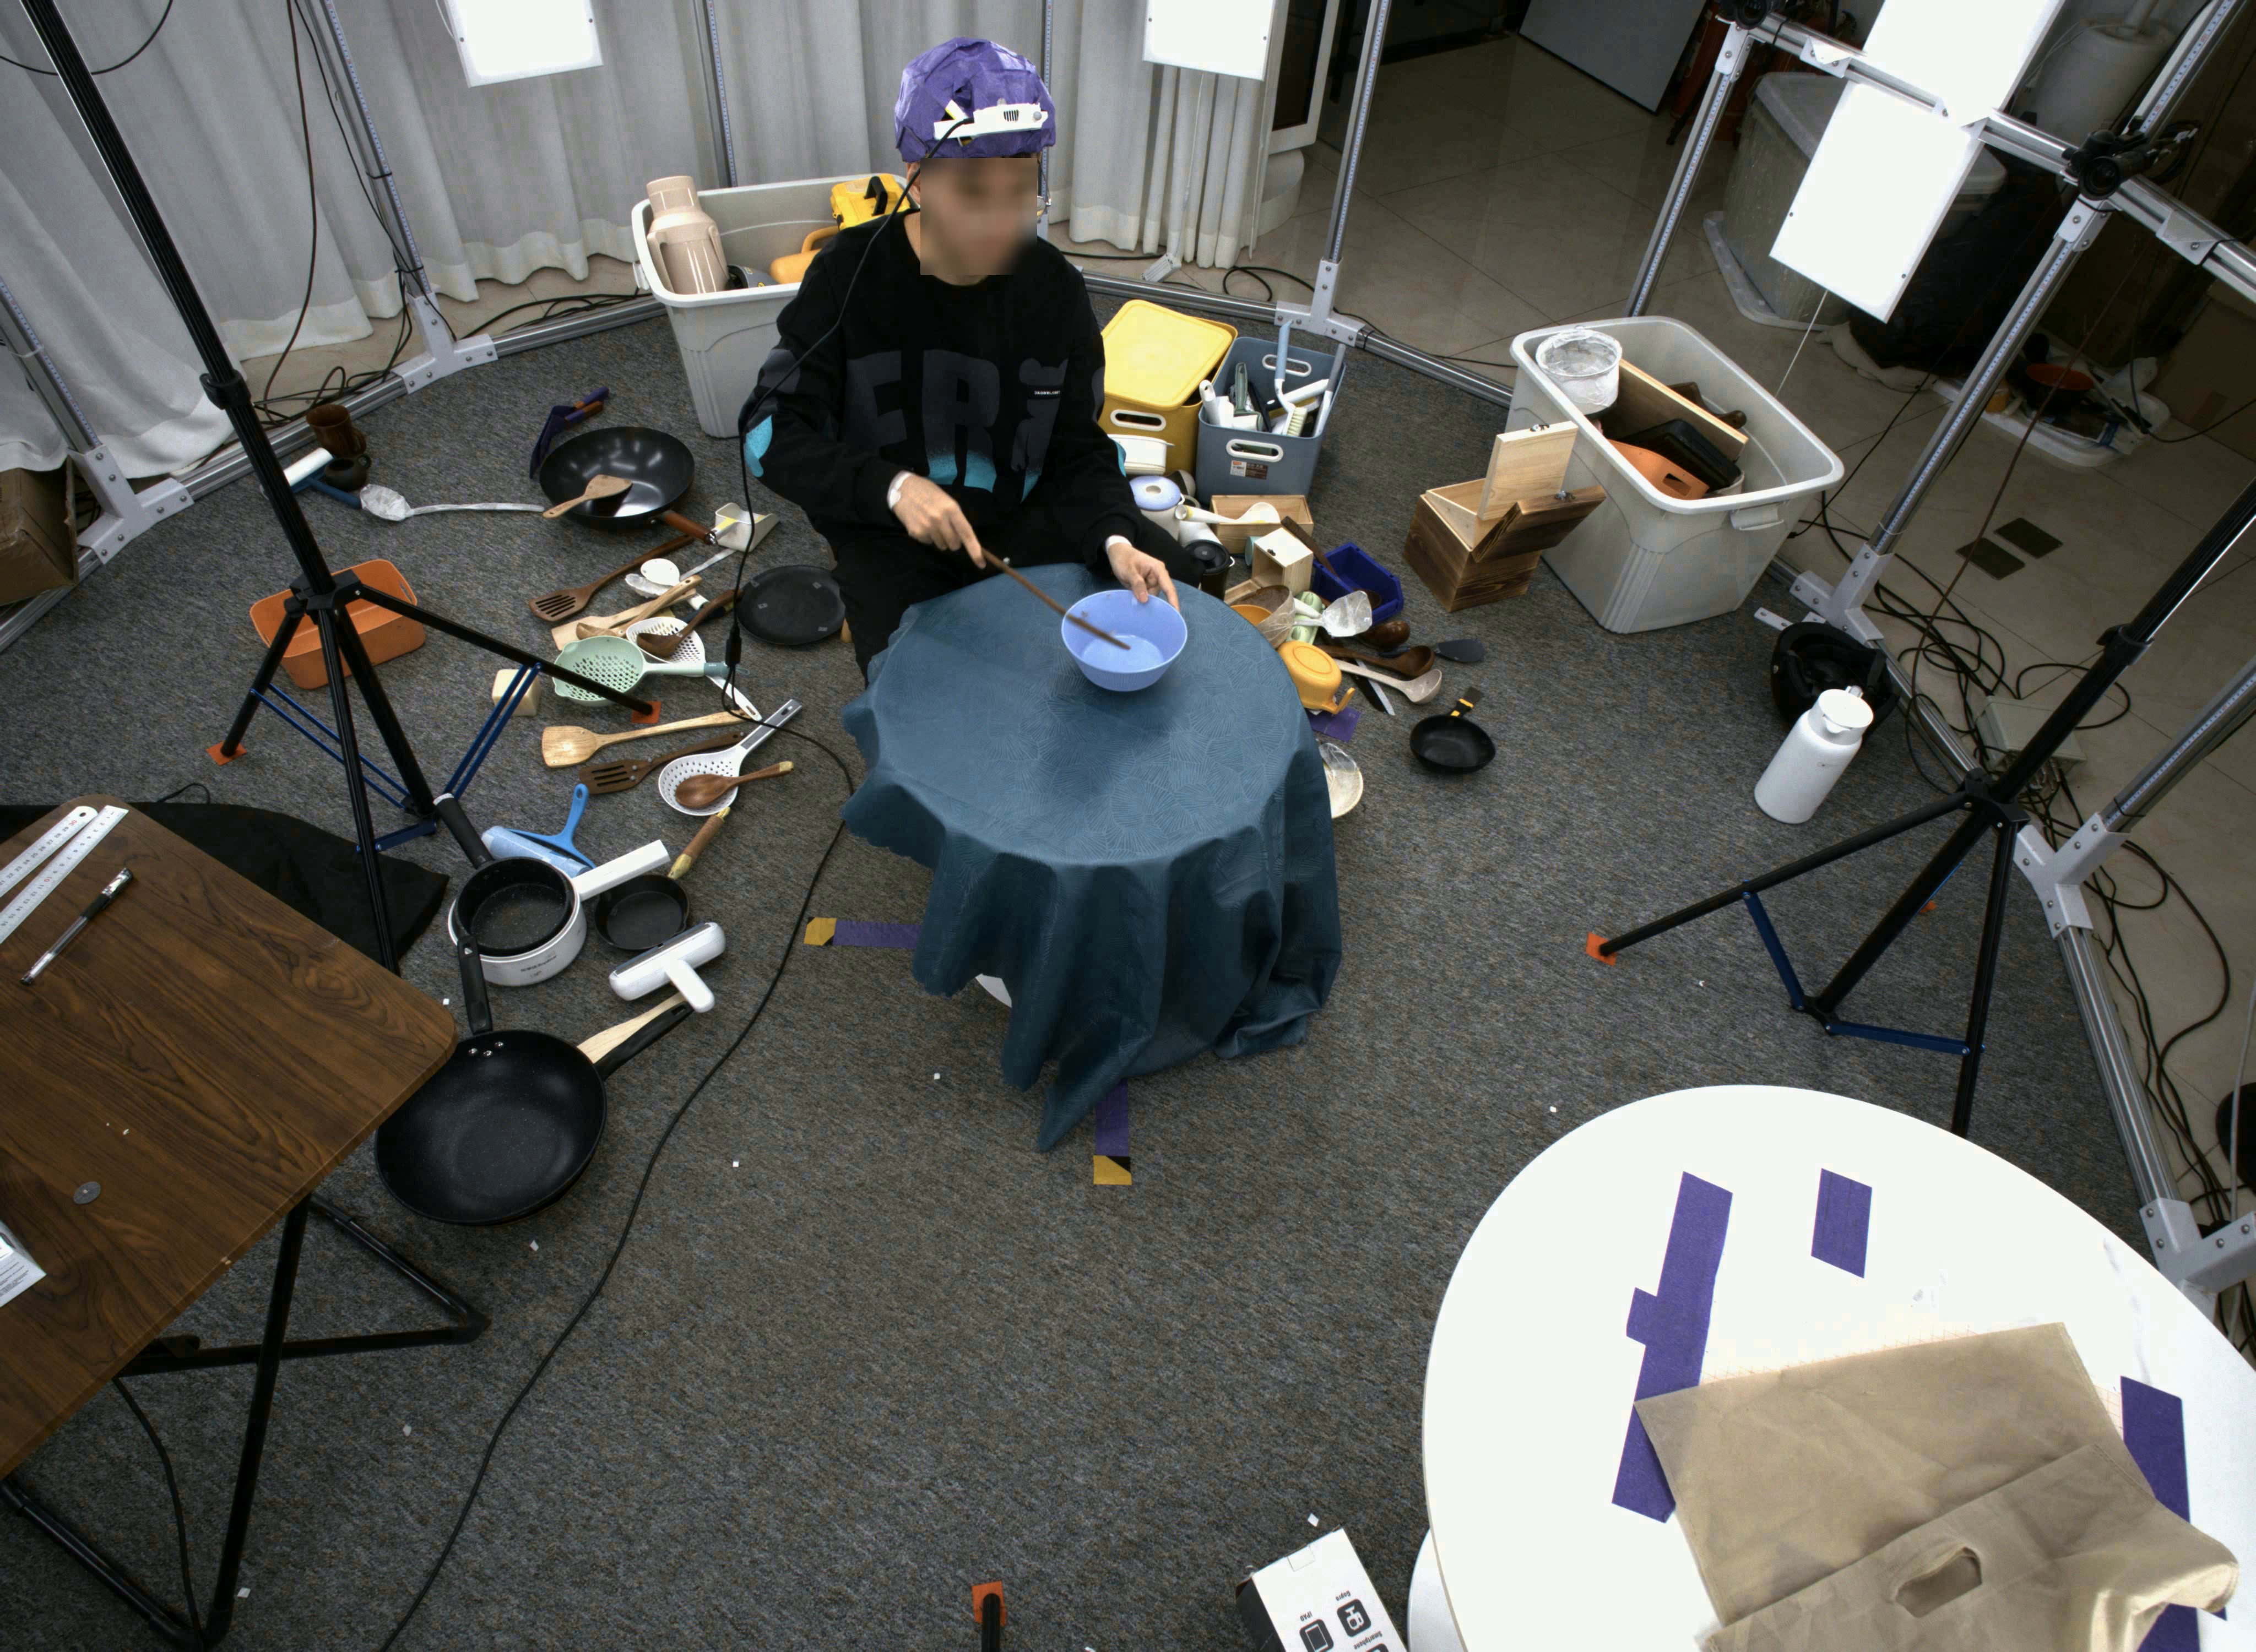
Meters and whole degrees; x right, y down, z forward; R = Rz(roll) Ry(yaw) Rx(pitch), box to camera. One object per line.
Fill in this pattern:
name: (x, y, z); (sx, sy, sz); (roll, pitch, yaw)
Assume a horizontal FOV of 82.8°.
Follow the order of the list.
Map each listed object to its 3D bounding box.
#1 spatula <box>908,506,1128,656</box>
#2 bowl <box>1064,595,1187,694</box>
spatula: (-0.156, -0.335, 1.745); (0.390, 0.015, 0.095); (37, 14, 19)
bowl: (-0.004, -0.251, 1.834); (0.176, 0.068, 0.180); (1, 46, -1)
